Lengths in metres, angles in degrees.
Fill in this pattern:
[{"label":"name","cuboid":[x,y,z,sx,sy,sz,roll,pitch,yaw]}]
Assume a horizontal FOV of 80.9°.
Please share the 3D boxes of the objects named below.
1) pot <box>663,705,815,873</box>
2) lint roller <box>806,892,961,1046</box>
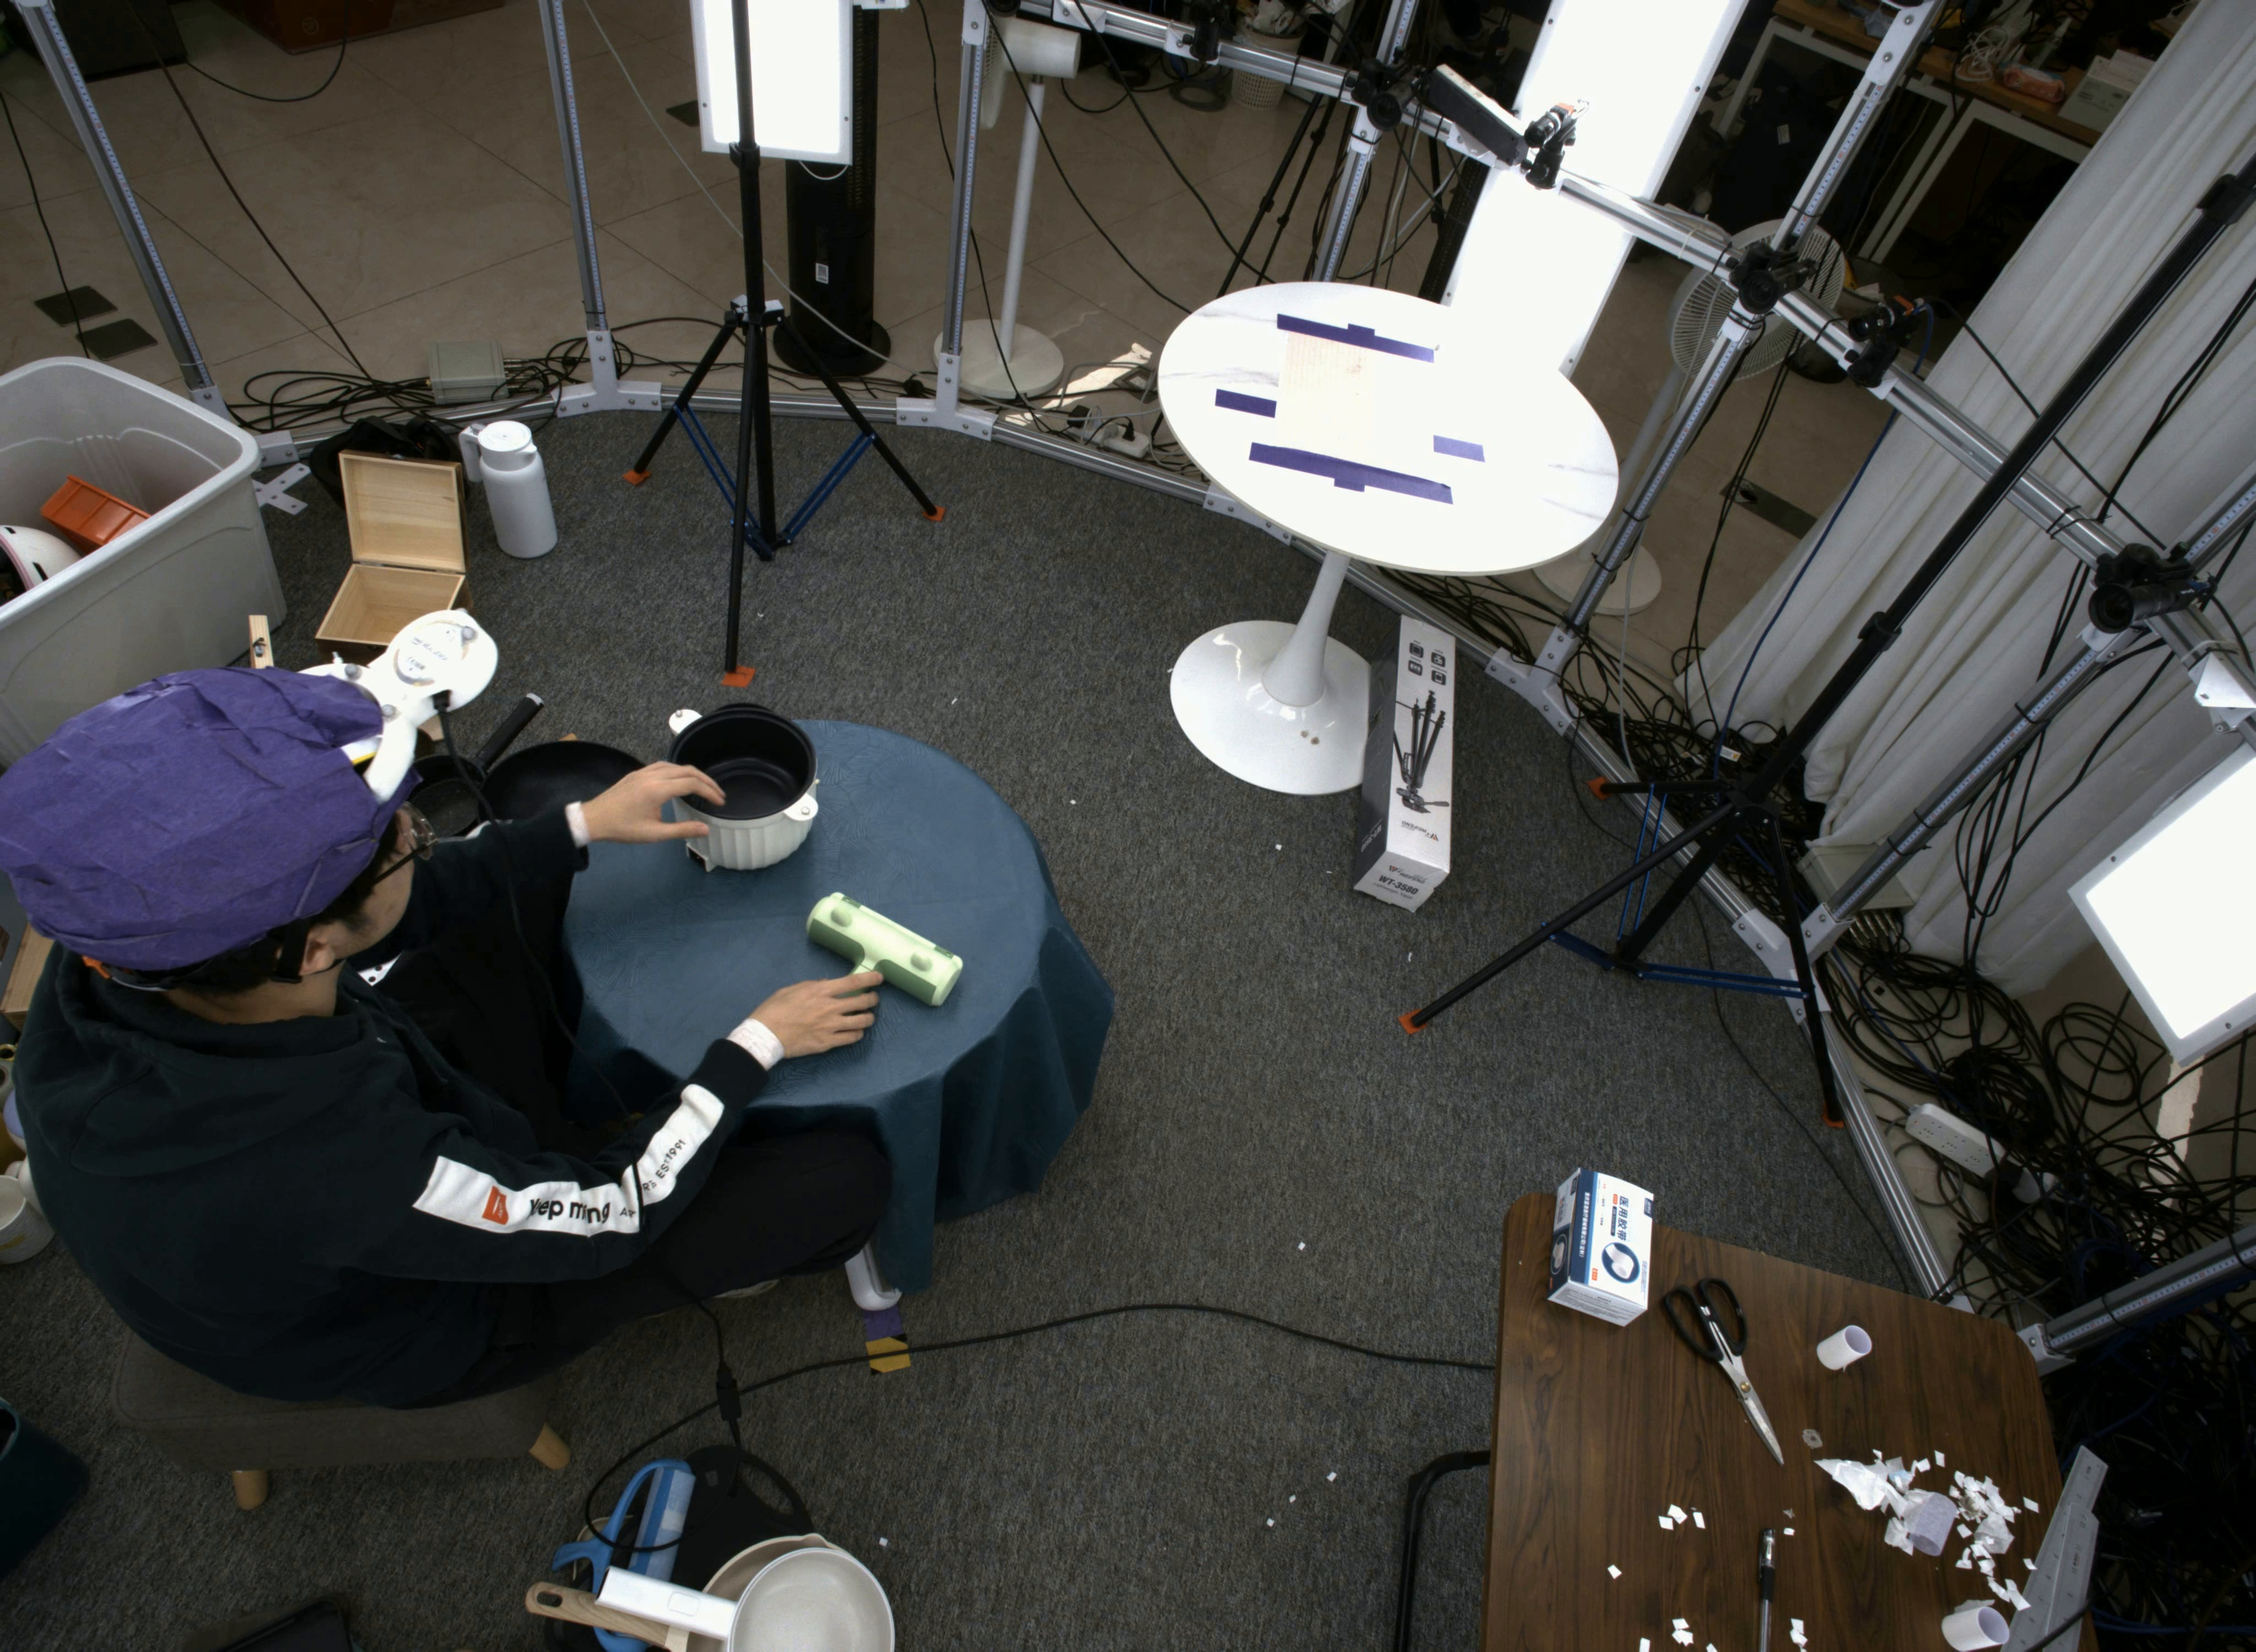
[{"label":"pot","cuboid":[-0.491,-0.046,1.657,0.236,0.145,0.190,35,57,11]},{"label":"lint roller","cuboid":[-0.328,0.179,1.574,0.196,0.084,0.182,28,47,7]}]
